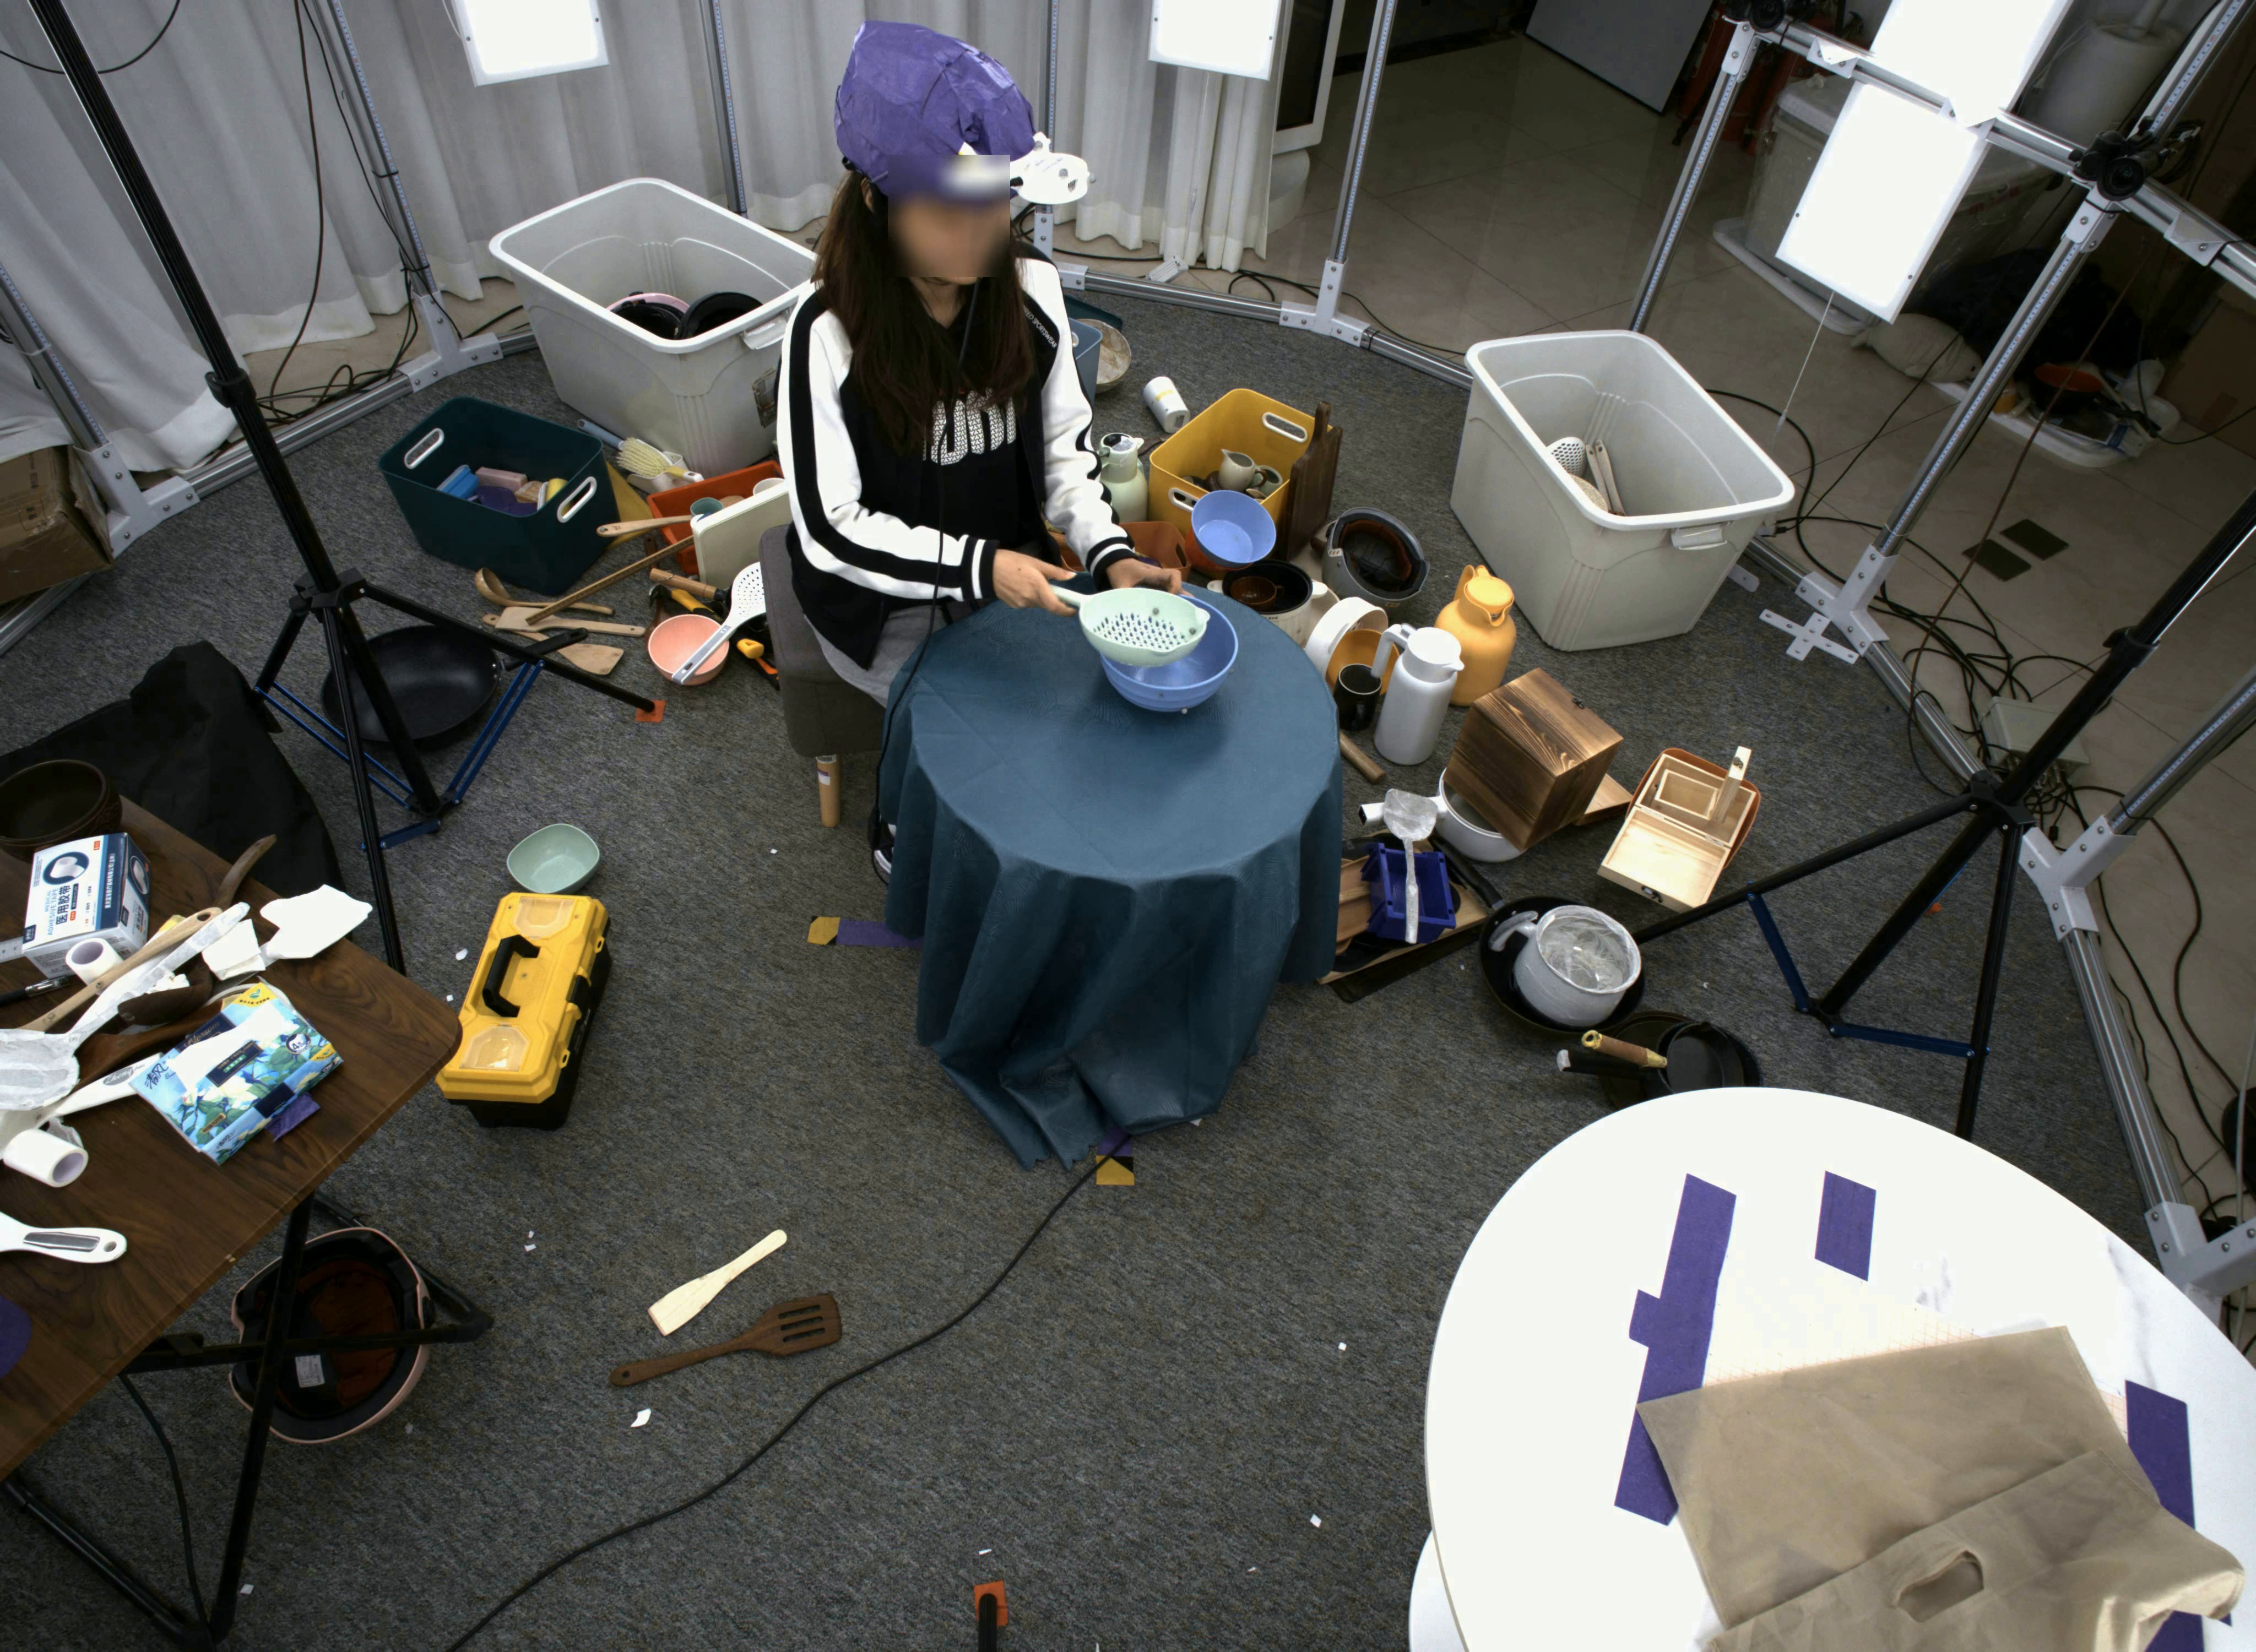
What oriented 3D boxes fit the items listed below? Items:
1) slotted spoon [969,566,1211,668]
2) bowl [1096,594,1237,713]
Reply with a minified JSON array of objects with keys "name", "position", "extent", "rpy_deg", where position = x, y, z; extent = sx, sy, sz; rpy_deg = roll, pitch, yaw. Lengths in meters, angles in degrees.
[{"name":"slotted spoon","position":[-0.064,-0.303,1.767],"extent":[0.361,0.074,0.171],"rpy_deg":[28,39,16]},{"name":"bowl","position":[0.051,-0.229,1.811],"extent":[0.196,0.093,0.201],"rpy_deg":[1,49,-2]}]
